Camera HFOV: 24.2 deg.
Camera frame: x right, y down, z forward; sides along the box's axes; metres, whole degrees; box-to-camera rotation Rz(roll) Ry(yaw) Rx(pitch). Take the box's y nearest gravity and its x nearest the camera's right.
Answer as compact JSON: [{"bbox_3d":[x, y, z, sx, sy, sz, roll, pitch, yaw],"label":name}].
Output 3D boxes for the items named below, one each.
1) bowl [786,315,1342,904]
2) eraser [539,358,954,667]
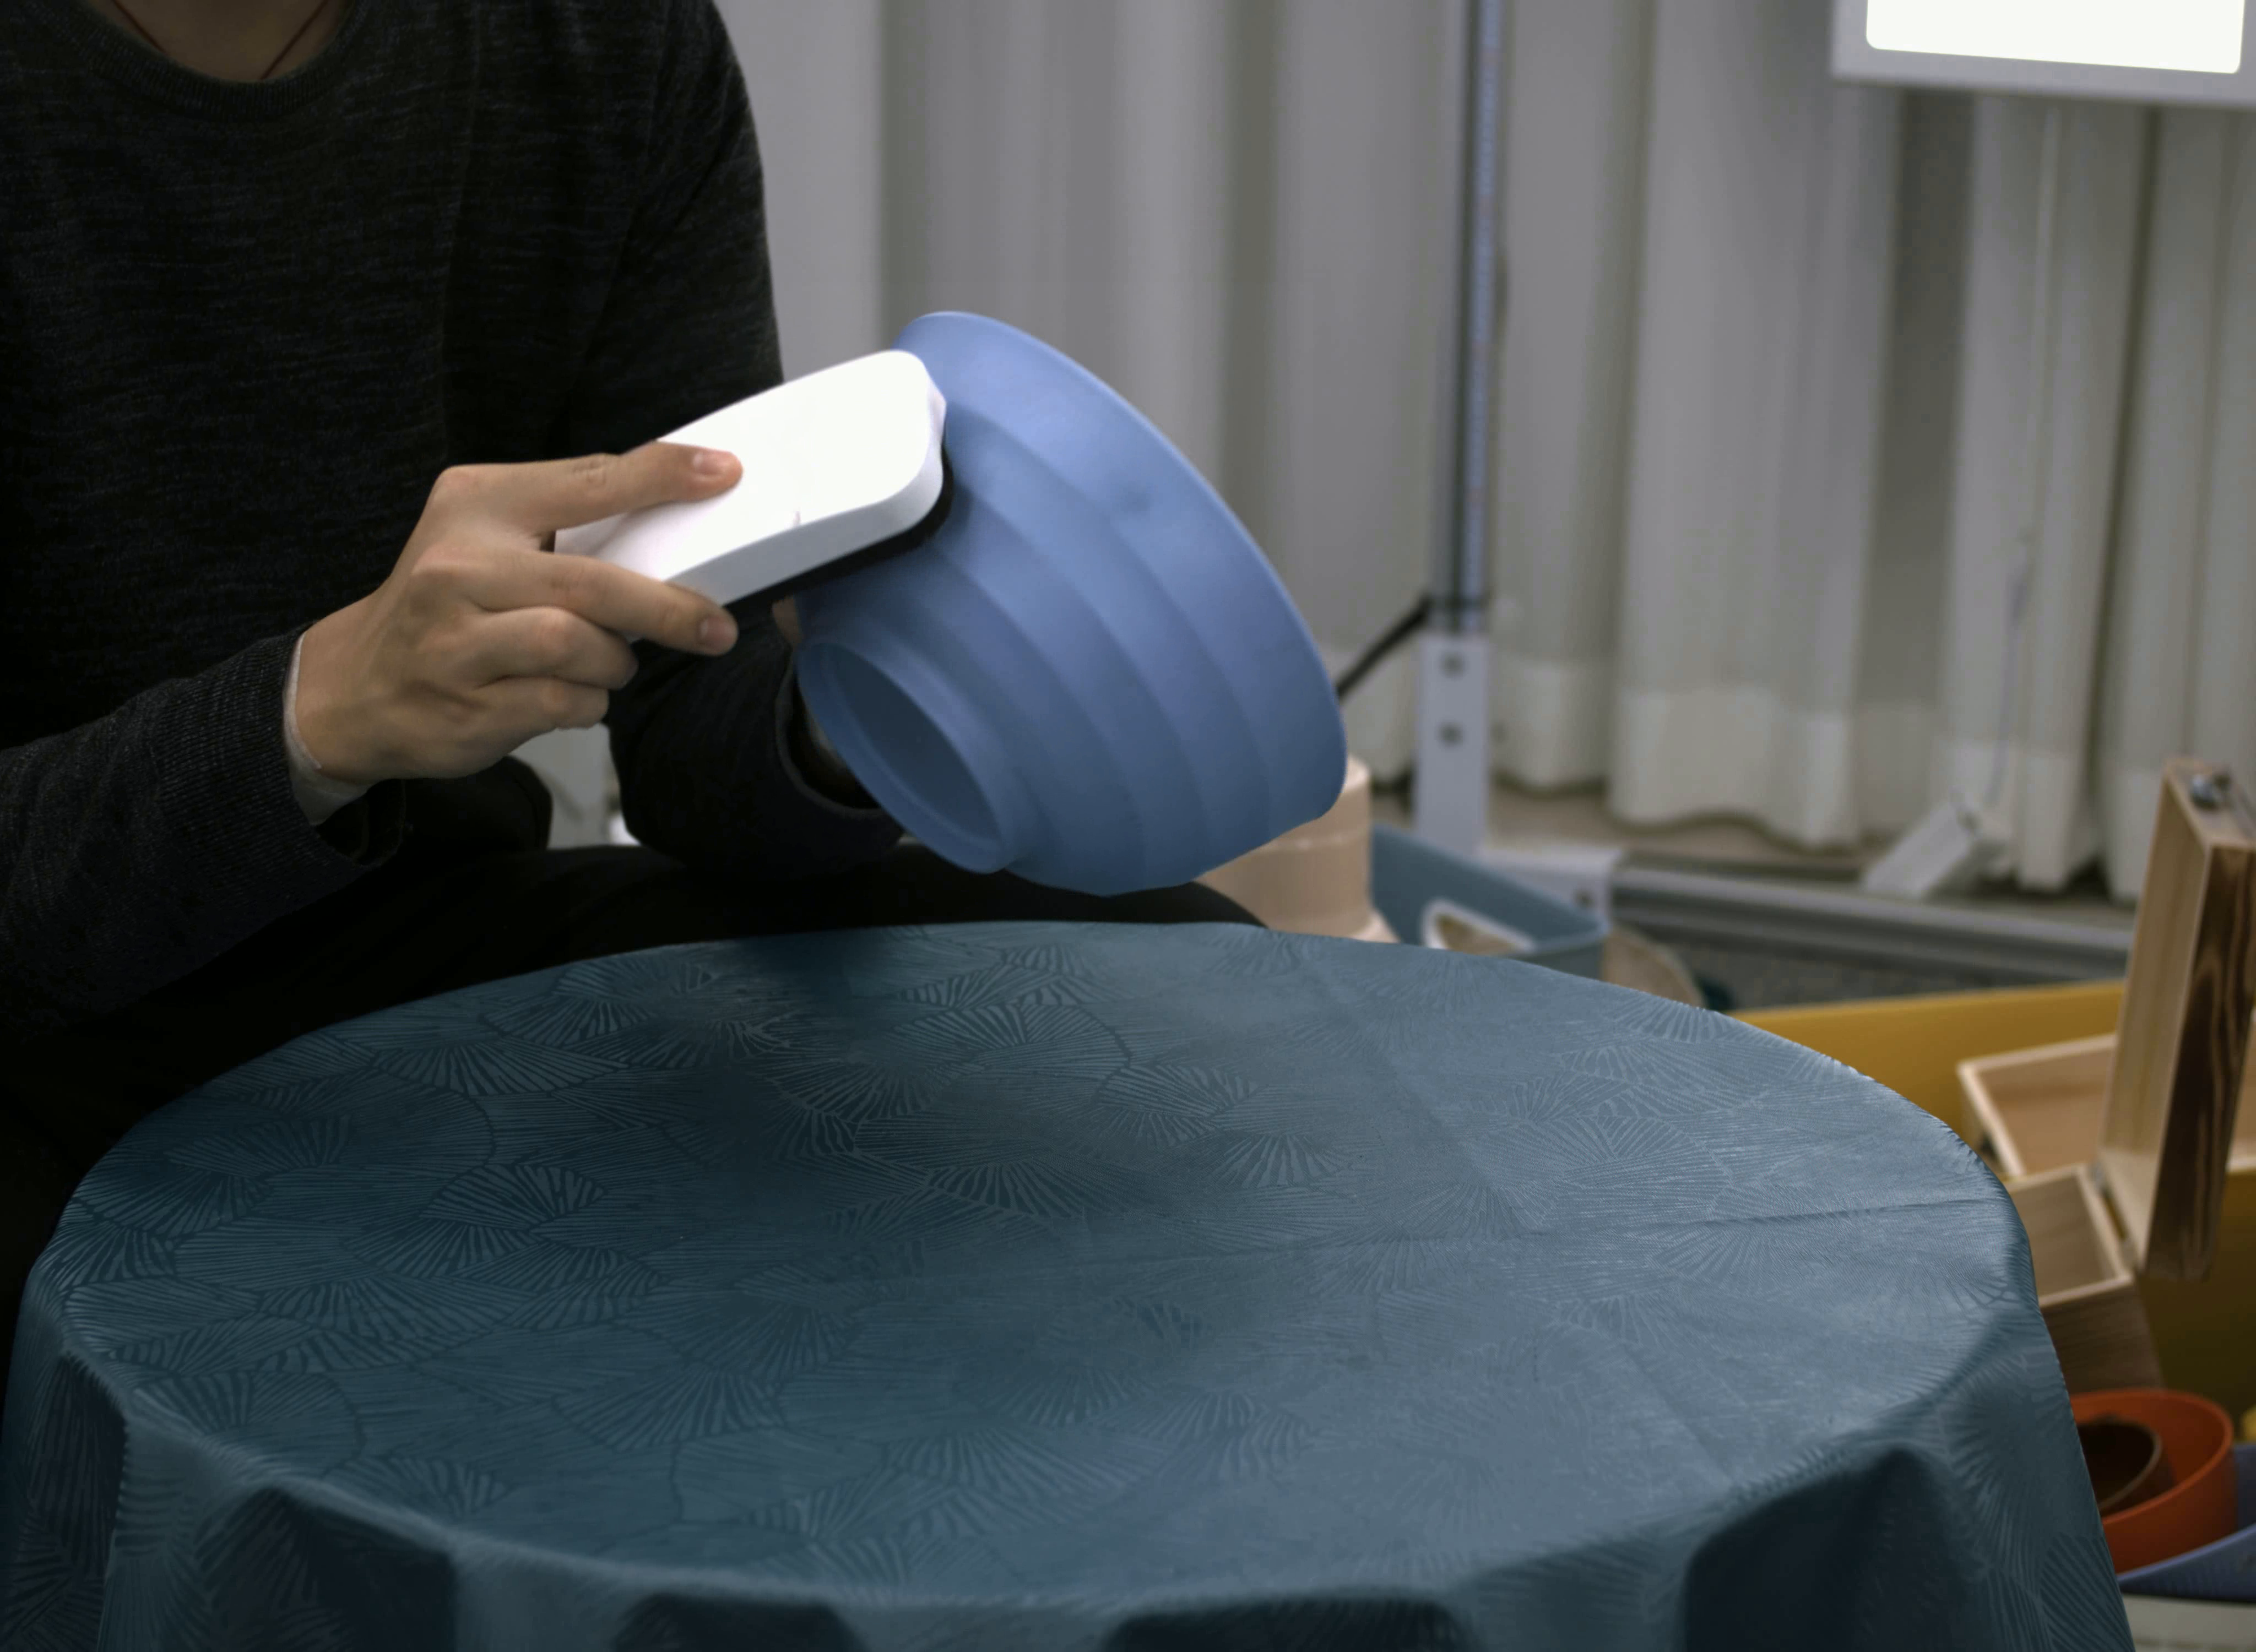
[{"bbox_3d":[-0.038,-0.048,1.590,0.095,0.199,0.194,-42,34,-19],"label":"bowl"},{"bbox_3d":[-0.112,-0.093,1.532,0.130,0.035,0.063,-19,45,22],"label":"eraser"}]
